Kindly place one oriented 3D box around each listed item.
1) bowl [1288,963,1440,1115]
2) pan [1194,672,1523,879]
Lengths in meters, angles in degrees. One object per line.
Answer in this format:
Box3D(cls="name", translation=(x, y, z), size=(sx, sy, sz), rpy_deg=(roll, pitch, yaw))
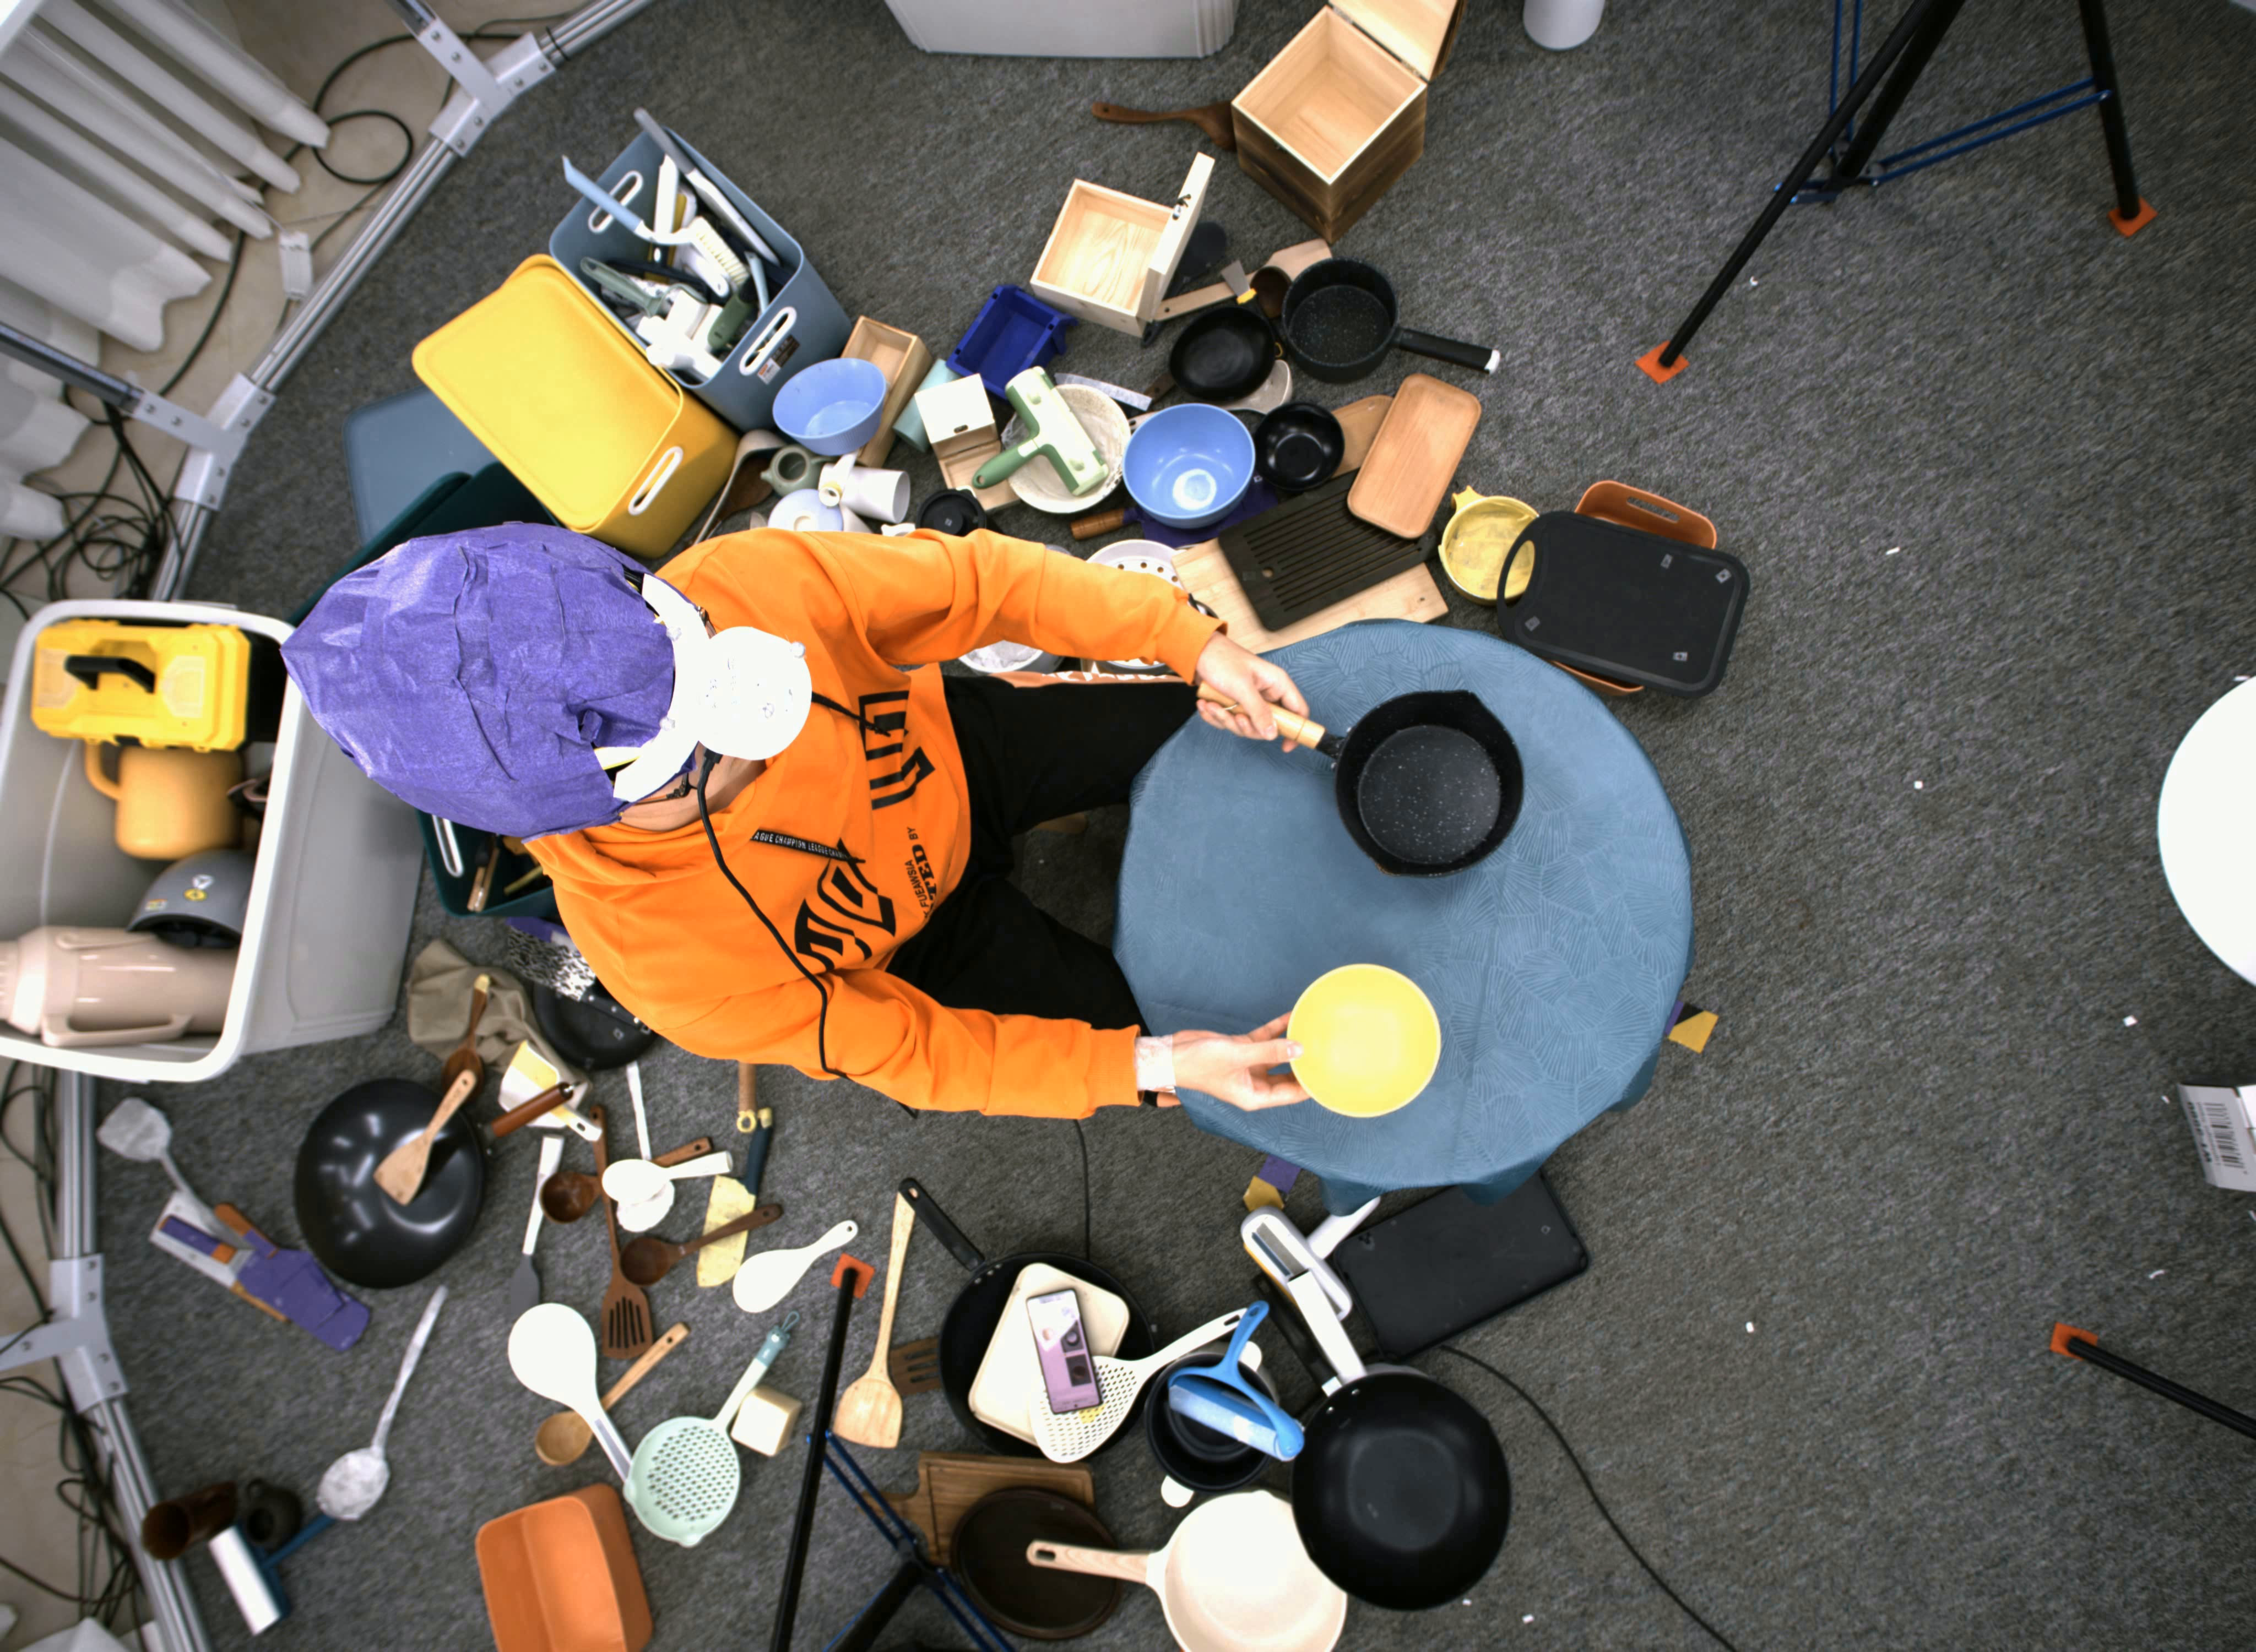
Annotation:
Box3D(cls="bowl", translation=(0.228, 0.207, 1.342), size=(0.146, 0.060, 0.143), rpy_deg=(-3, 77, 10))
Box3D(cls="pan", translation=(0.227, -0.070, 1.391), size=(0.342, 0.108, 0.208), rpy_deg=(23, 92, 12))
